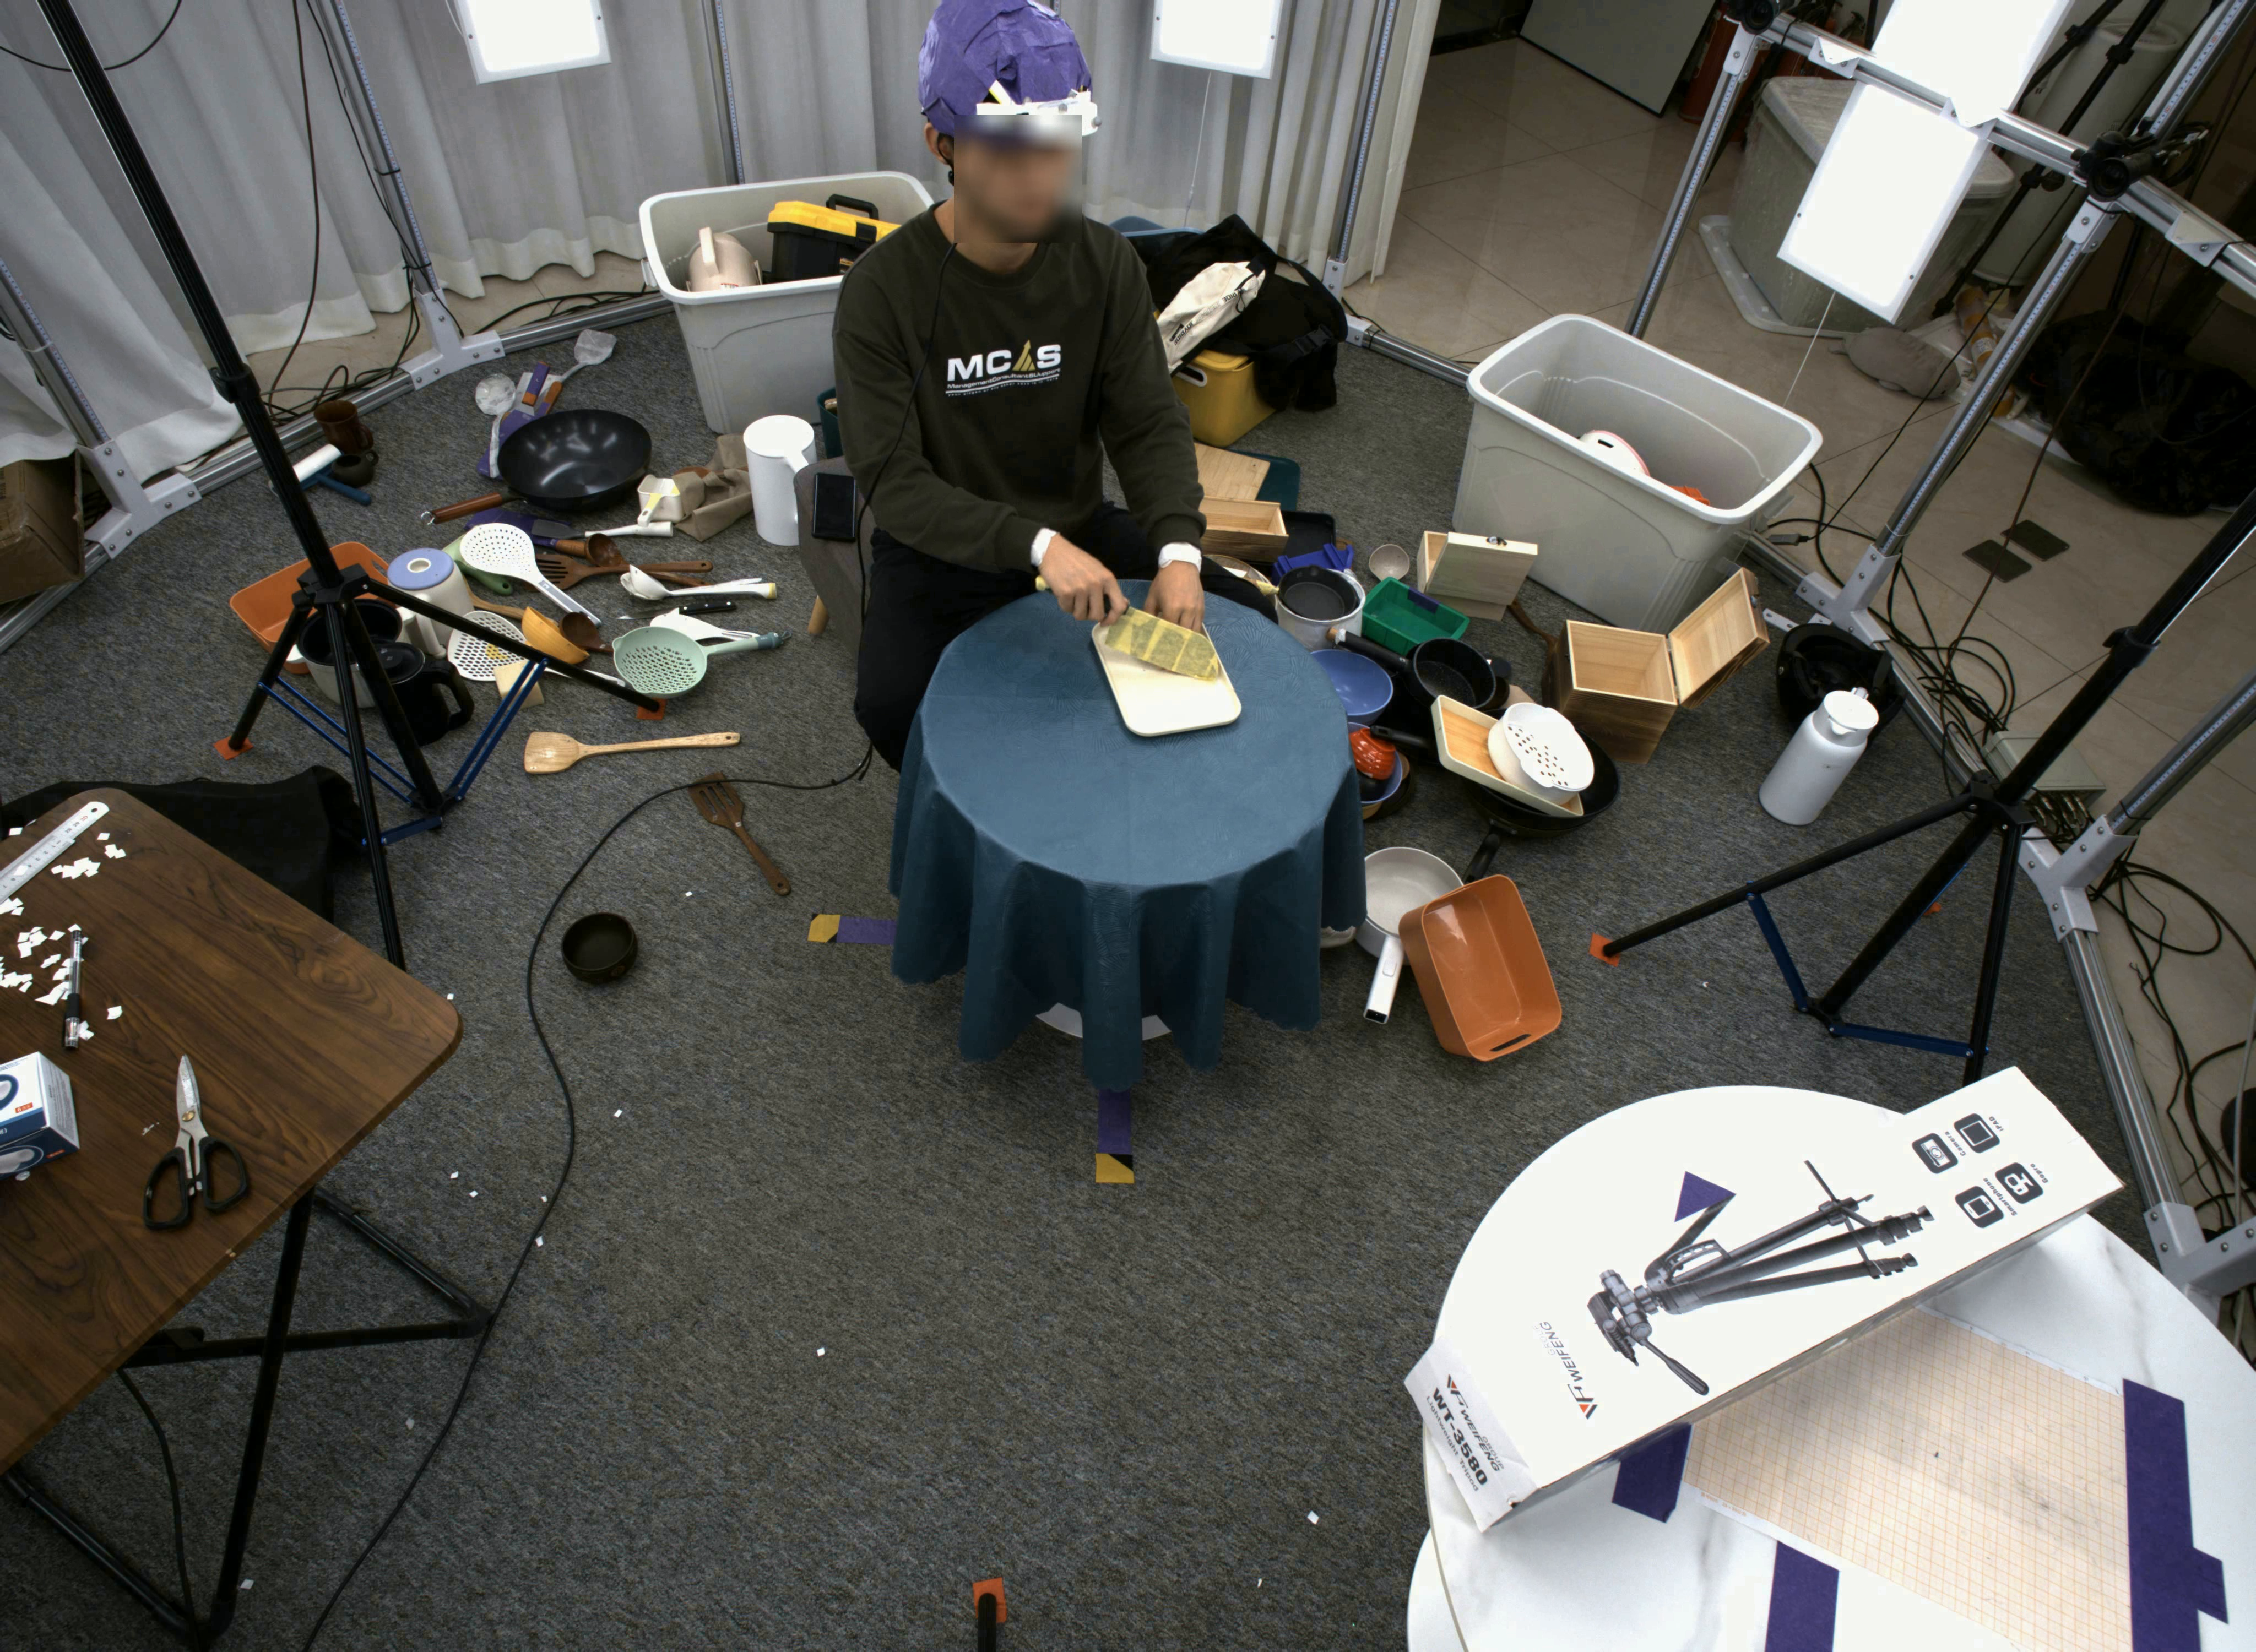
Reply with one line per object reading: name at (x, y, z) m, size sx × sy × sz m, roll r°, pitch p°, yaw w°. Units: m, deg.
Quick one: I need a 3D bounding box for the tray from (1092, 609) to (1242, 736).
tray at (0.053, -0.223, 1.853) m, size 0.171 × 0.017 × 0.245 m, roll -10°, pitch 50°, yaw -12°

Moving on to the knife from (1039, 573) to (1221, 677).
knife at (0.002, -0.284, 1.826) m, size 0.288 × 0.079 × 0.028 m, roll 25°, pitch 33°, yaw -6°
